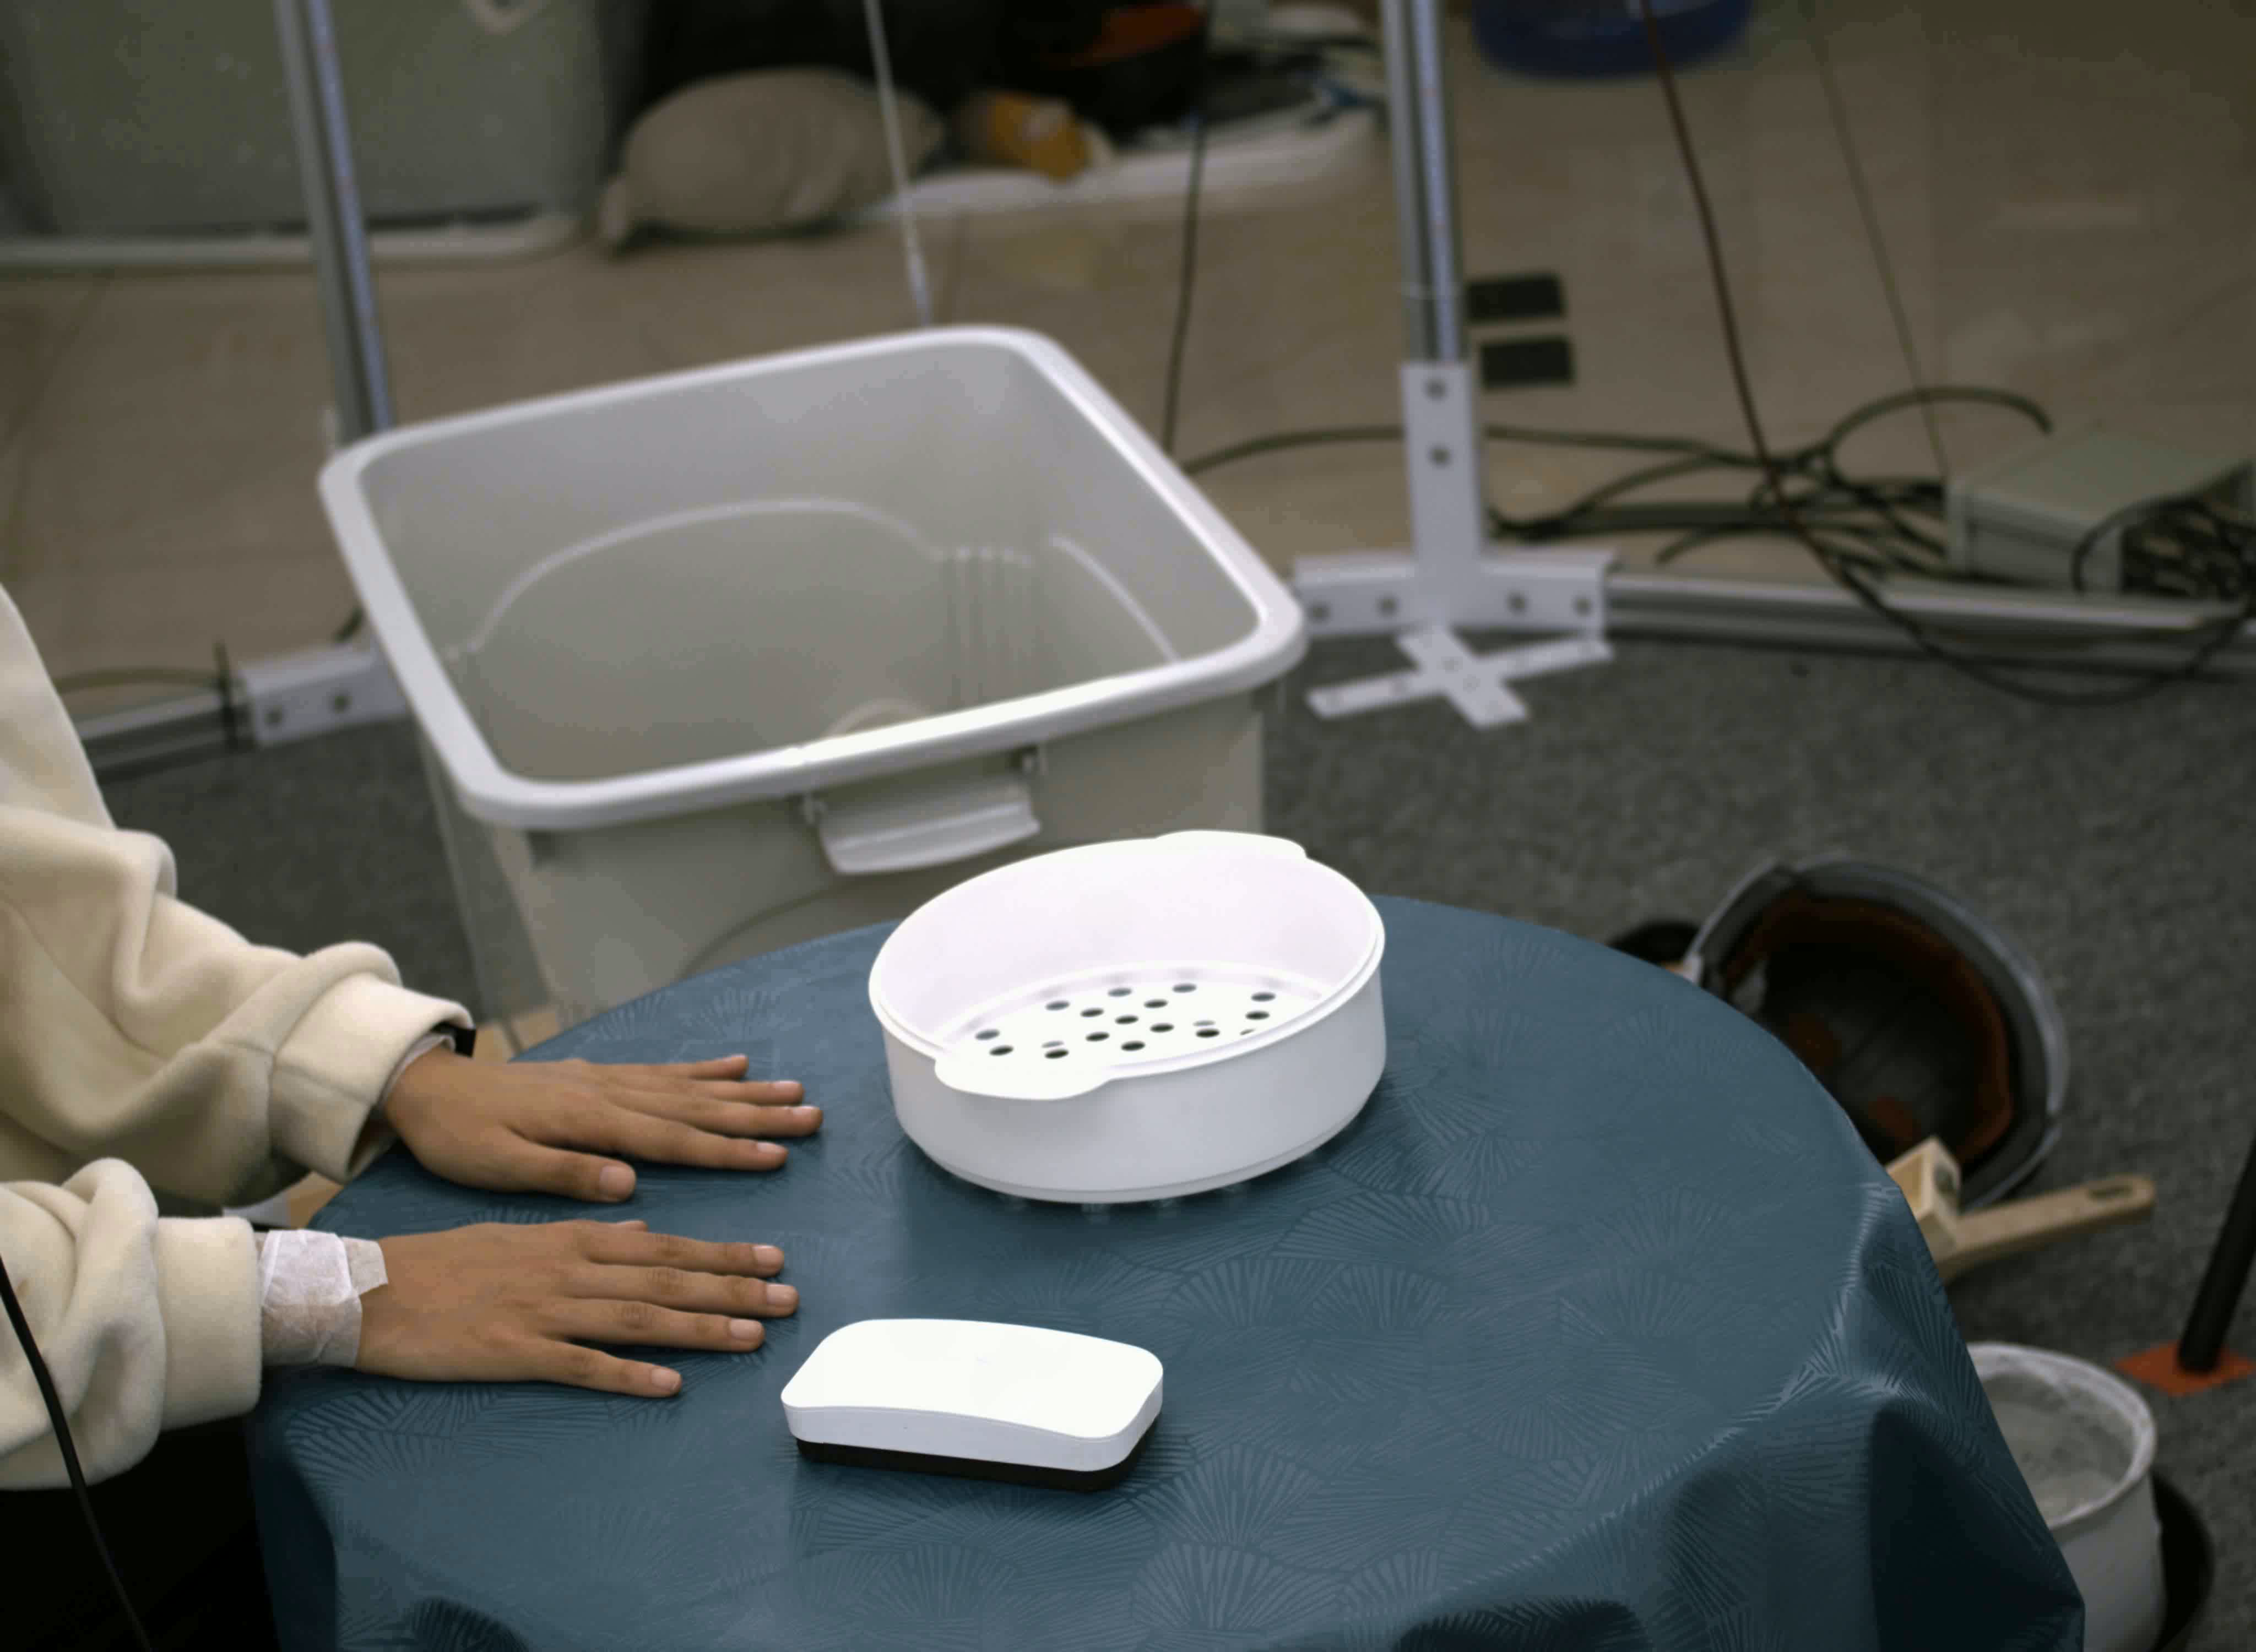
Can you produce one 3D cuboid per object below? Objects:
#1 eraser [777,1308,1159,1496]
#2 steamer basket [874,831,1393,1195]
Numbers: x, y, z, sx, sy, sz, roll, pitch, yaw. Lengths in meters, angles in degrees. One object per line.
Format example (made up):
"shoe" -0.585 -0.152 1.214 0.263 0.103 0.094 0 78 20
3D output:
"eraser" -0.055 0.201 1.992 0.131 0.035 0.062 5 28 22
"steamer basket" 0.004 0.075 2.204 0.201 0.070 0.227 5 27 24
